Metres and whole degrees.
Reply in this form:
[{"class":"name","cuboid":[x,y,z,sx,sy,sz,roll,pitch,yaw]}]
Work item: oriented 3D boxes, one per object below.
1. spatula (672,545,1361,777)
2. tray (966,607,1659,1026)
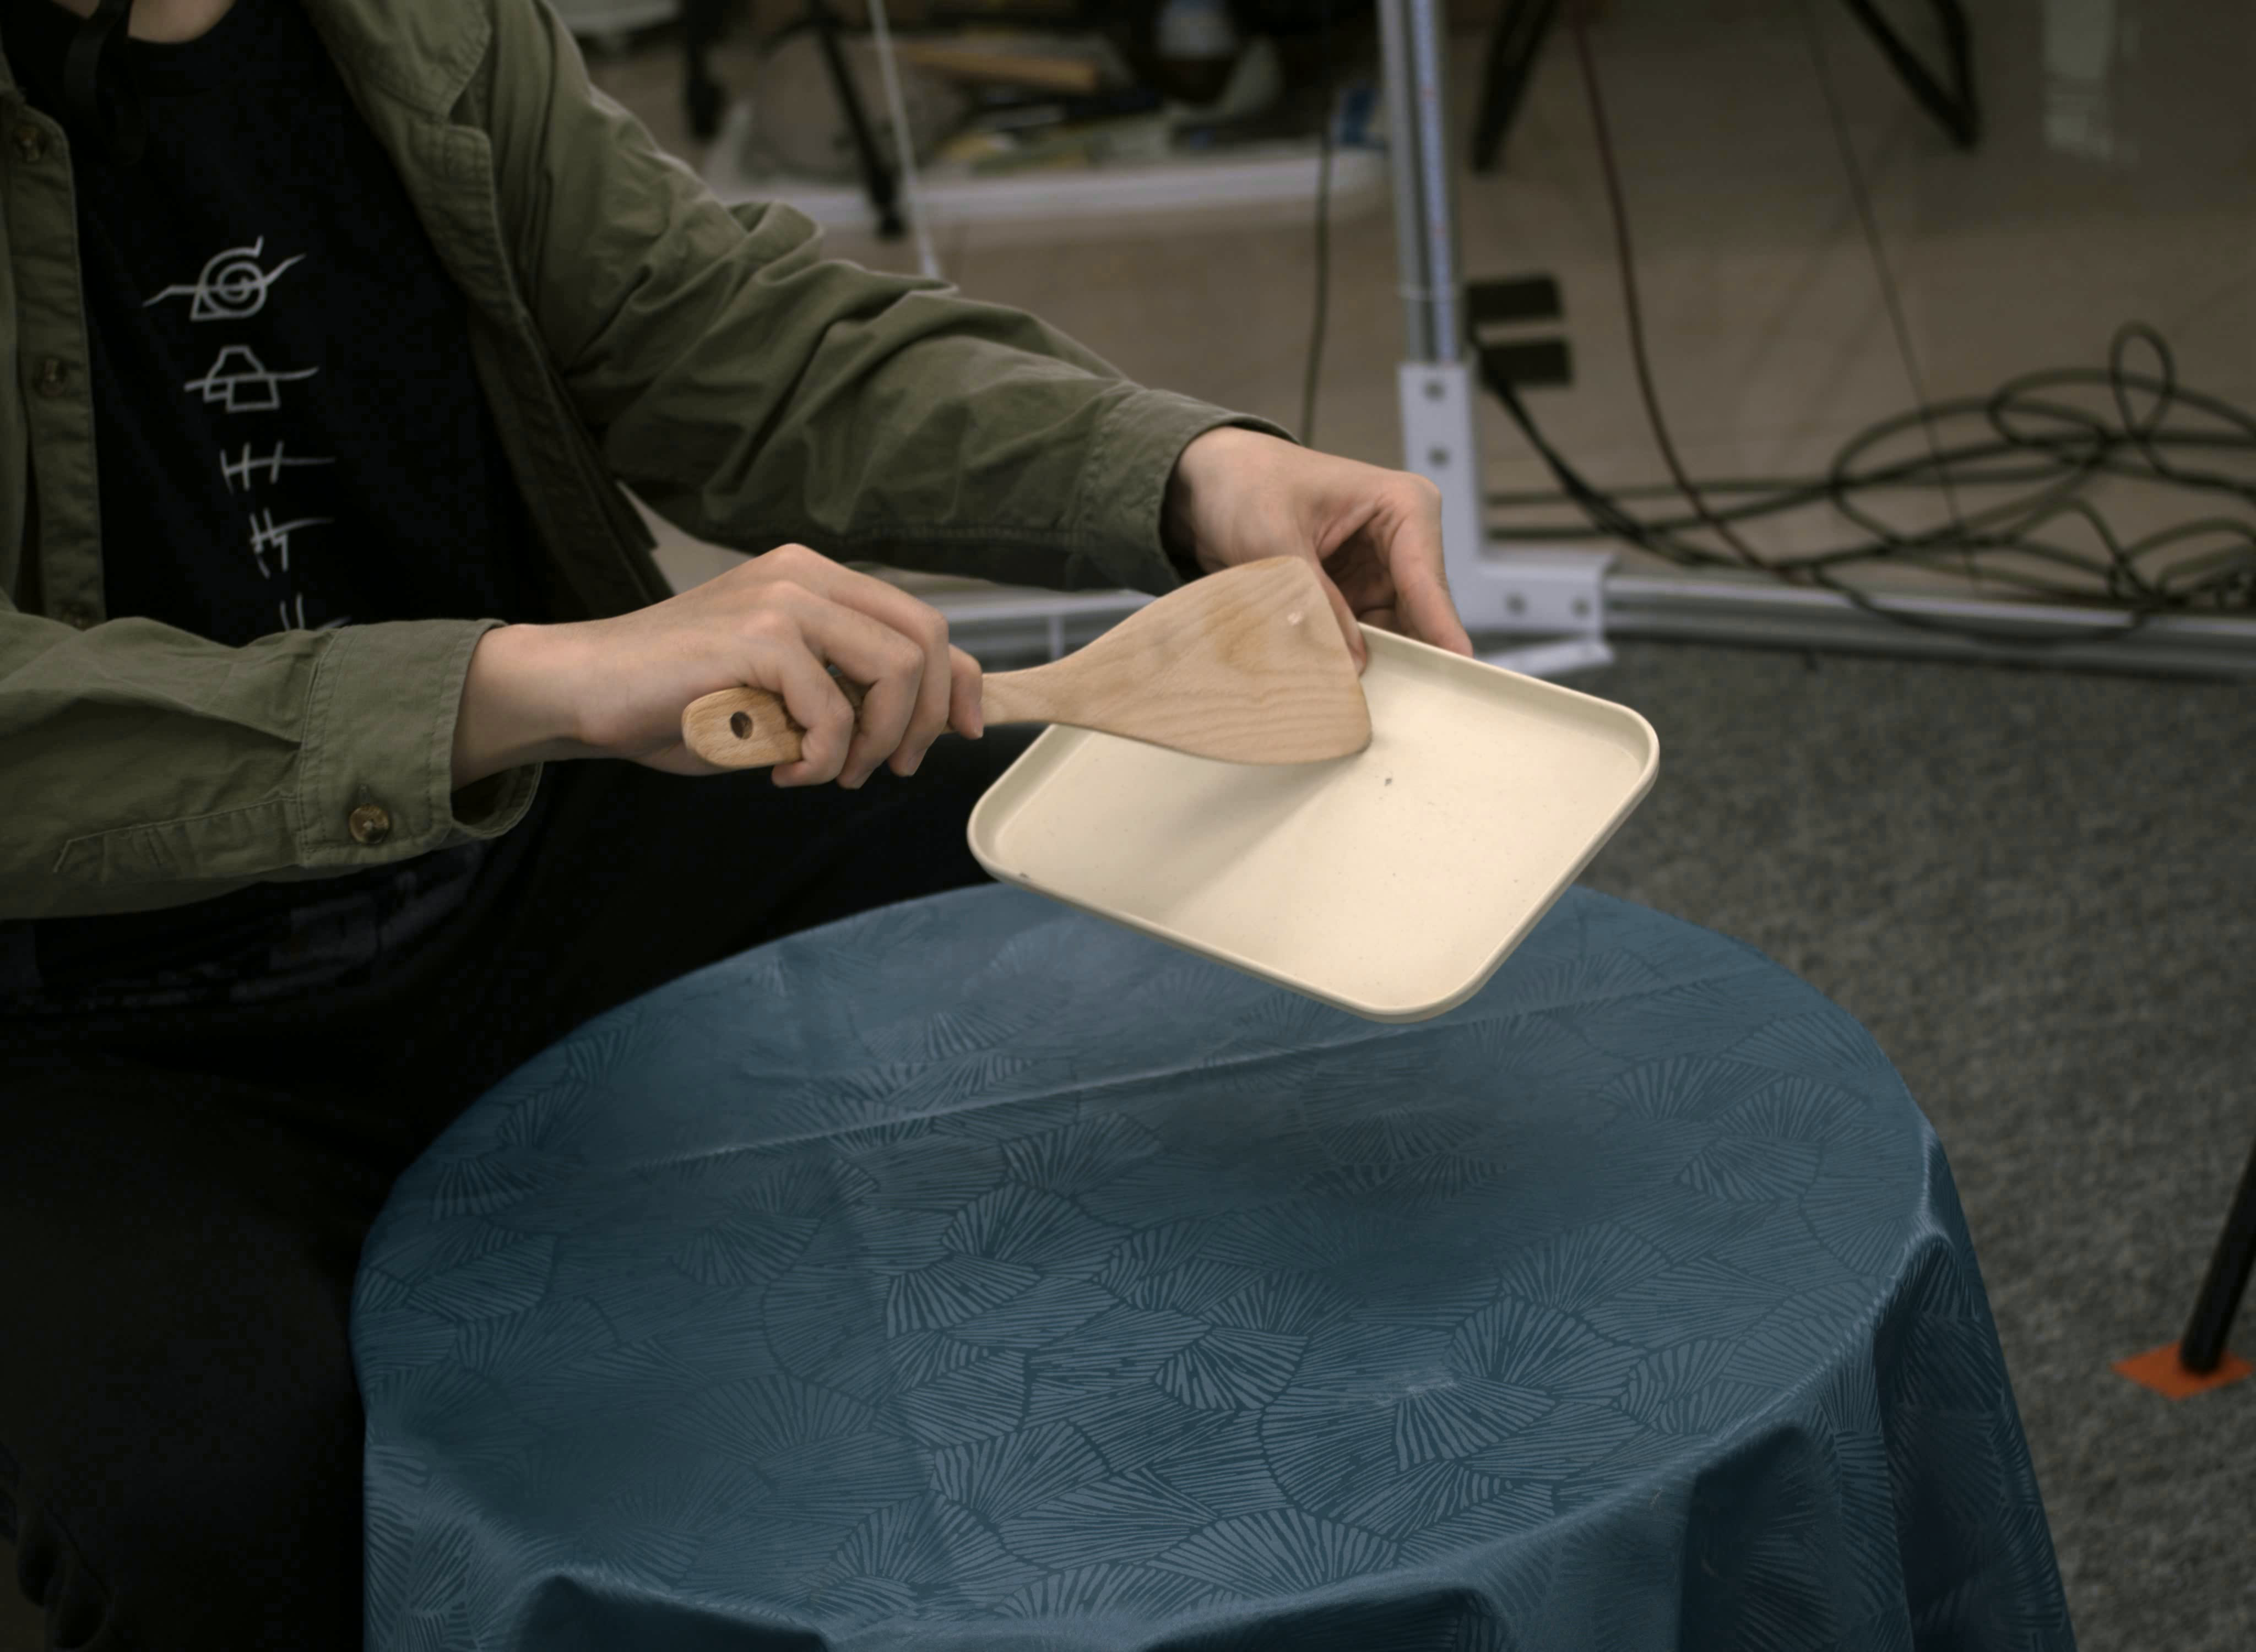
[{"class":"spatula","cuboid":[-0.038,-0.050,2.037,0.326,0.080,0.016,-10,-4,-45]},{"class":"tray","cuboid":[0.069,-0.008,2.123,0.238,0.018,0.169,20,56,36]}]
